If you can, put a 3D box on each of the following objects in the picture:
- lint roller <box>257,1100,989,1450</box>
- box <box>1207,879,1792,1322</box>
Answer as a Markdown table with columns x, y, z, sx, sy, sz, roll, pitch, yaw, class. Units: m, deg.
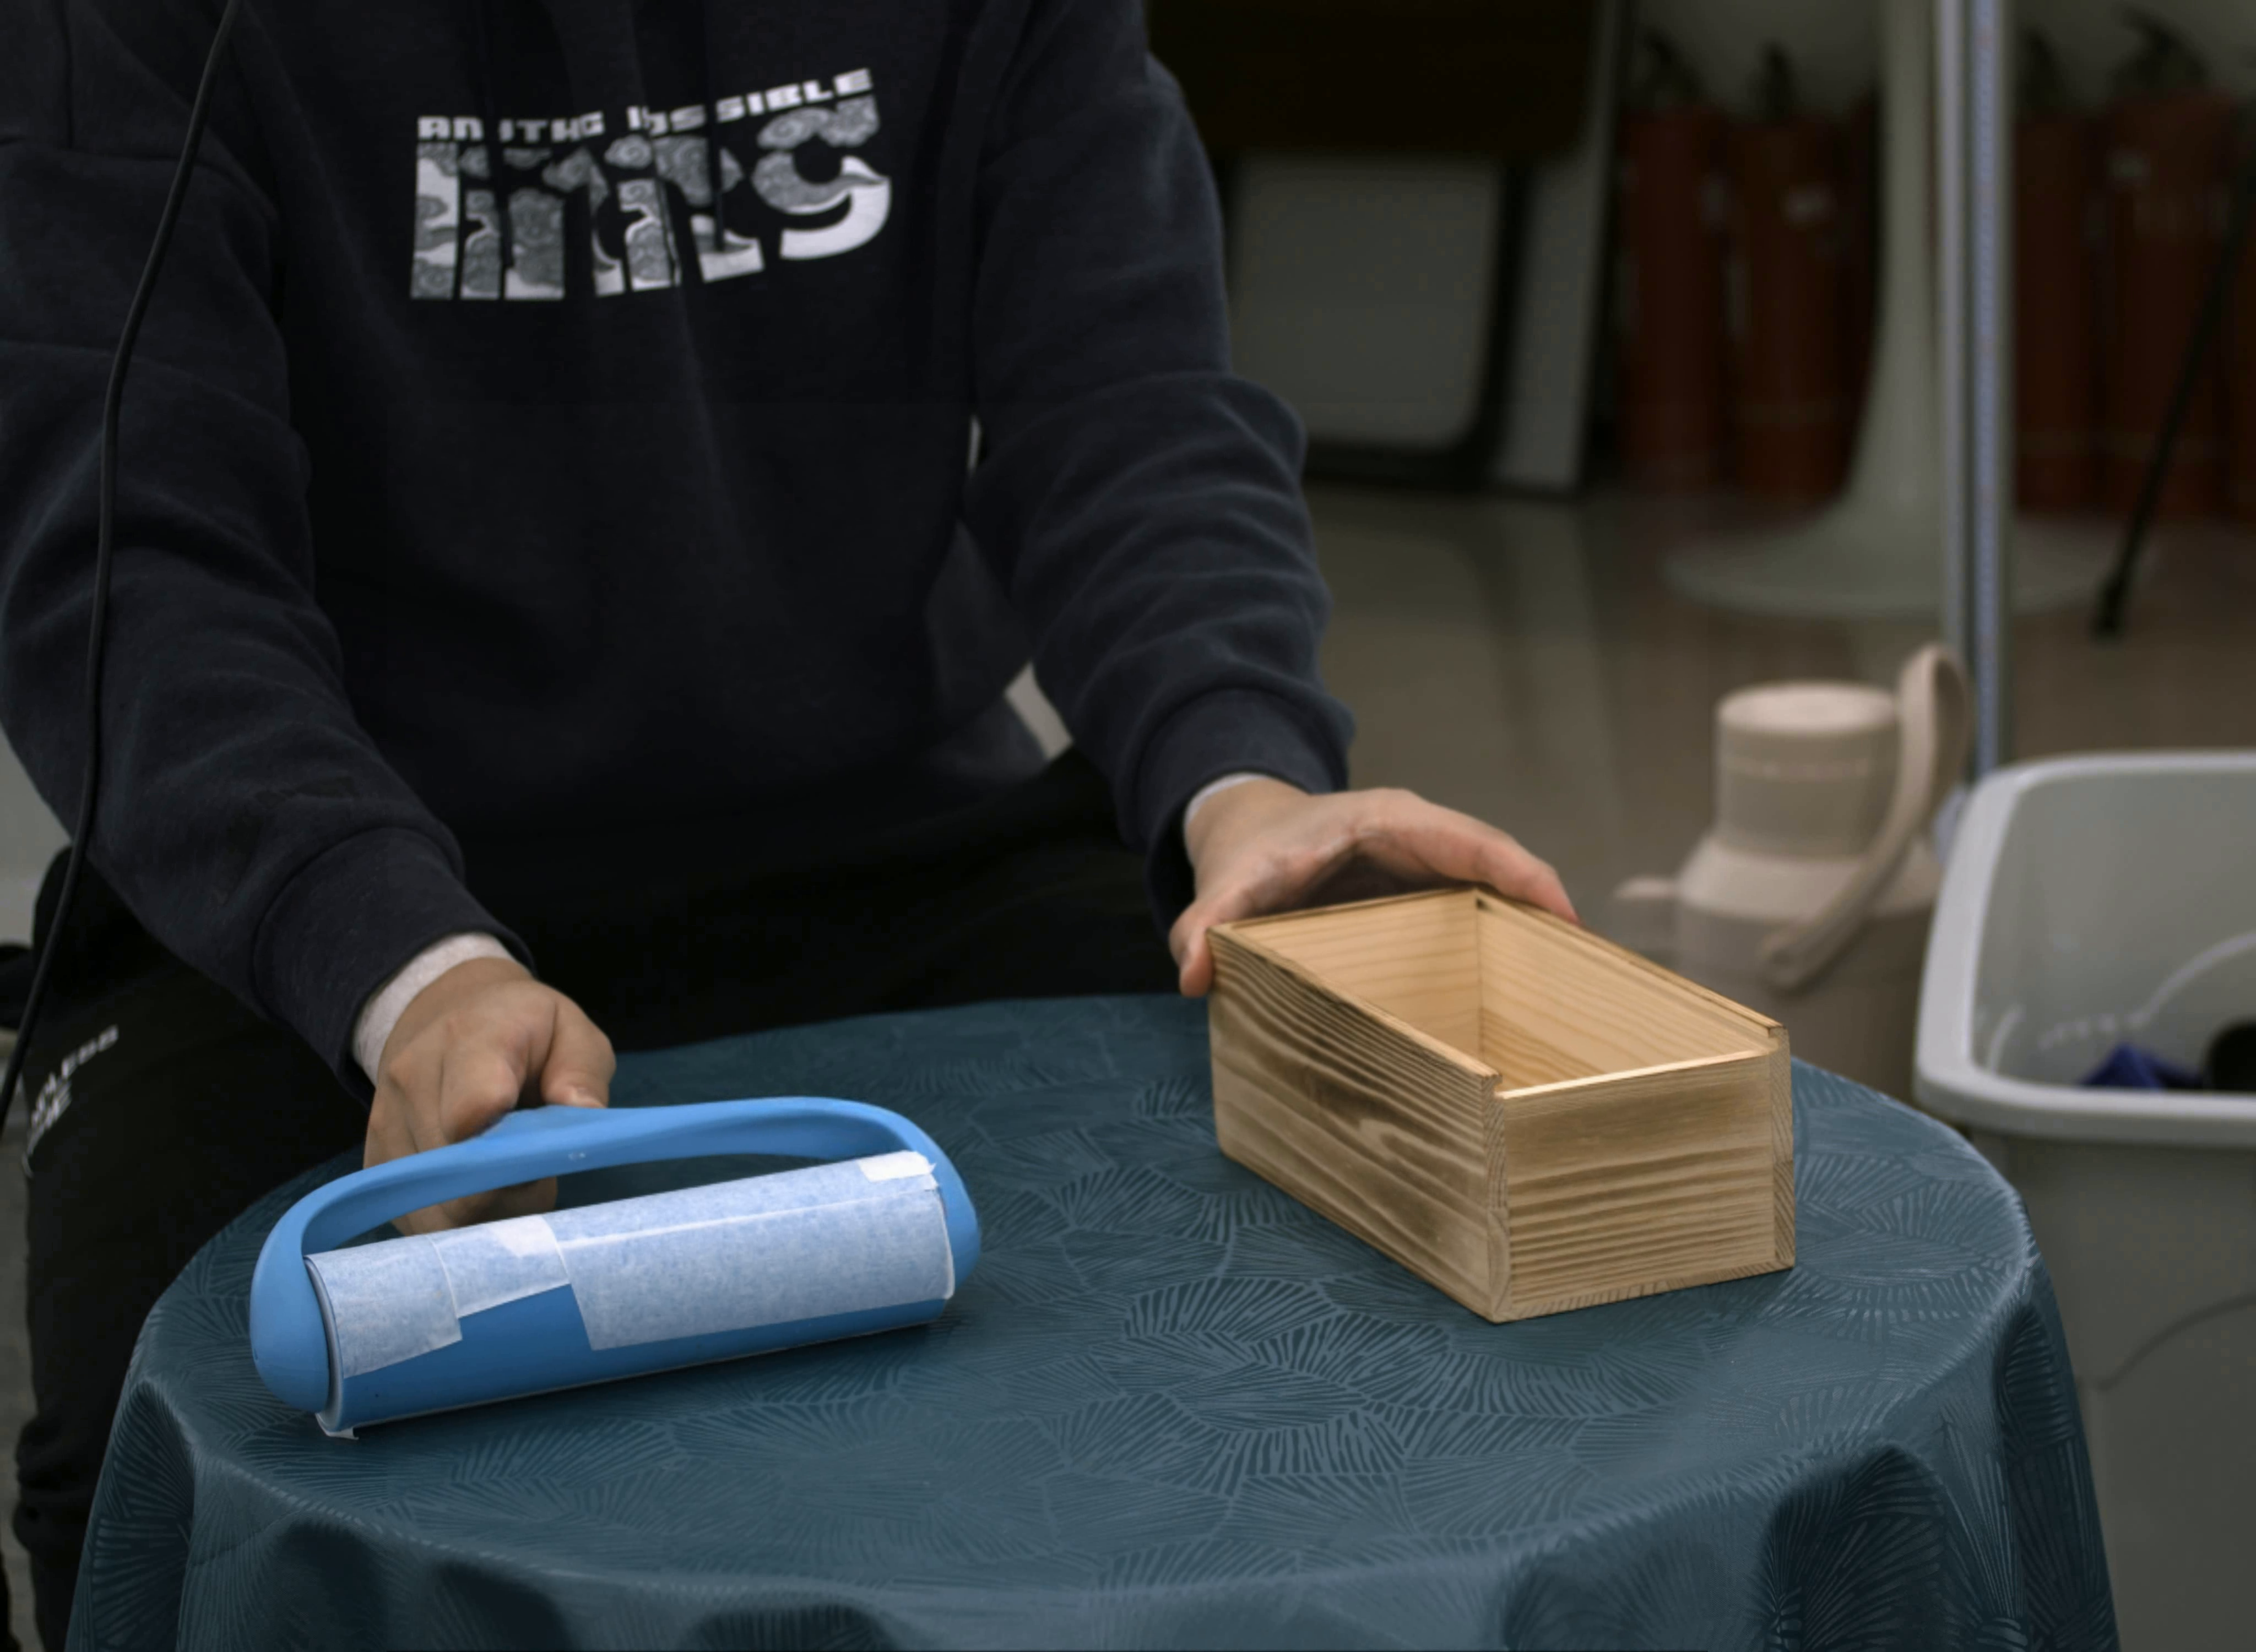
| x | y | z | sx | sy | sz | roll | pitch | yaw | class |
| --- | --- | --- | --- | --- | --- | --- | --- | --- | --- |
| -0.173 | 0.121 | 1.674 | 0.224 | 0.068 | 0.182 | -12 | 24 | -21 | lint roller |
| 0.115 | 0.084 | 1.725 | 0.105 | 0.081 | 0.213 | -9 | 14 | -21 | box |
